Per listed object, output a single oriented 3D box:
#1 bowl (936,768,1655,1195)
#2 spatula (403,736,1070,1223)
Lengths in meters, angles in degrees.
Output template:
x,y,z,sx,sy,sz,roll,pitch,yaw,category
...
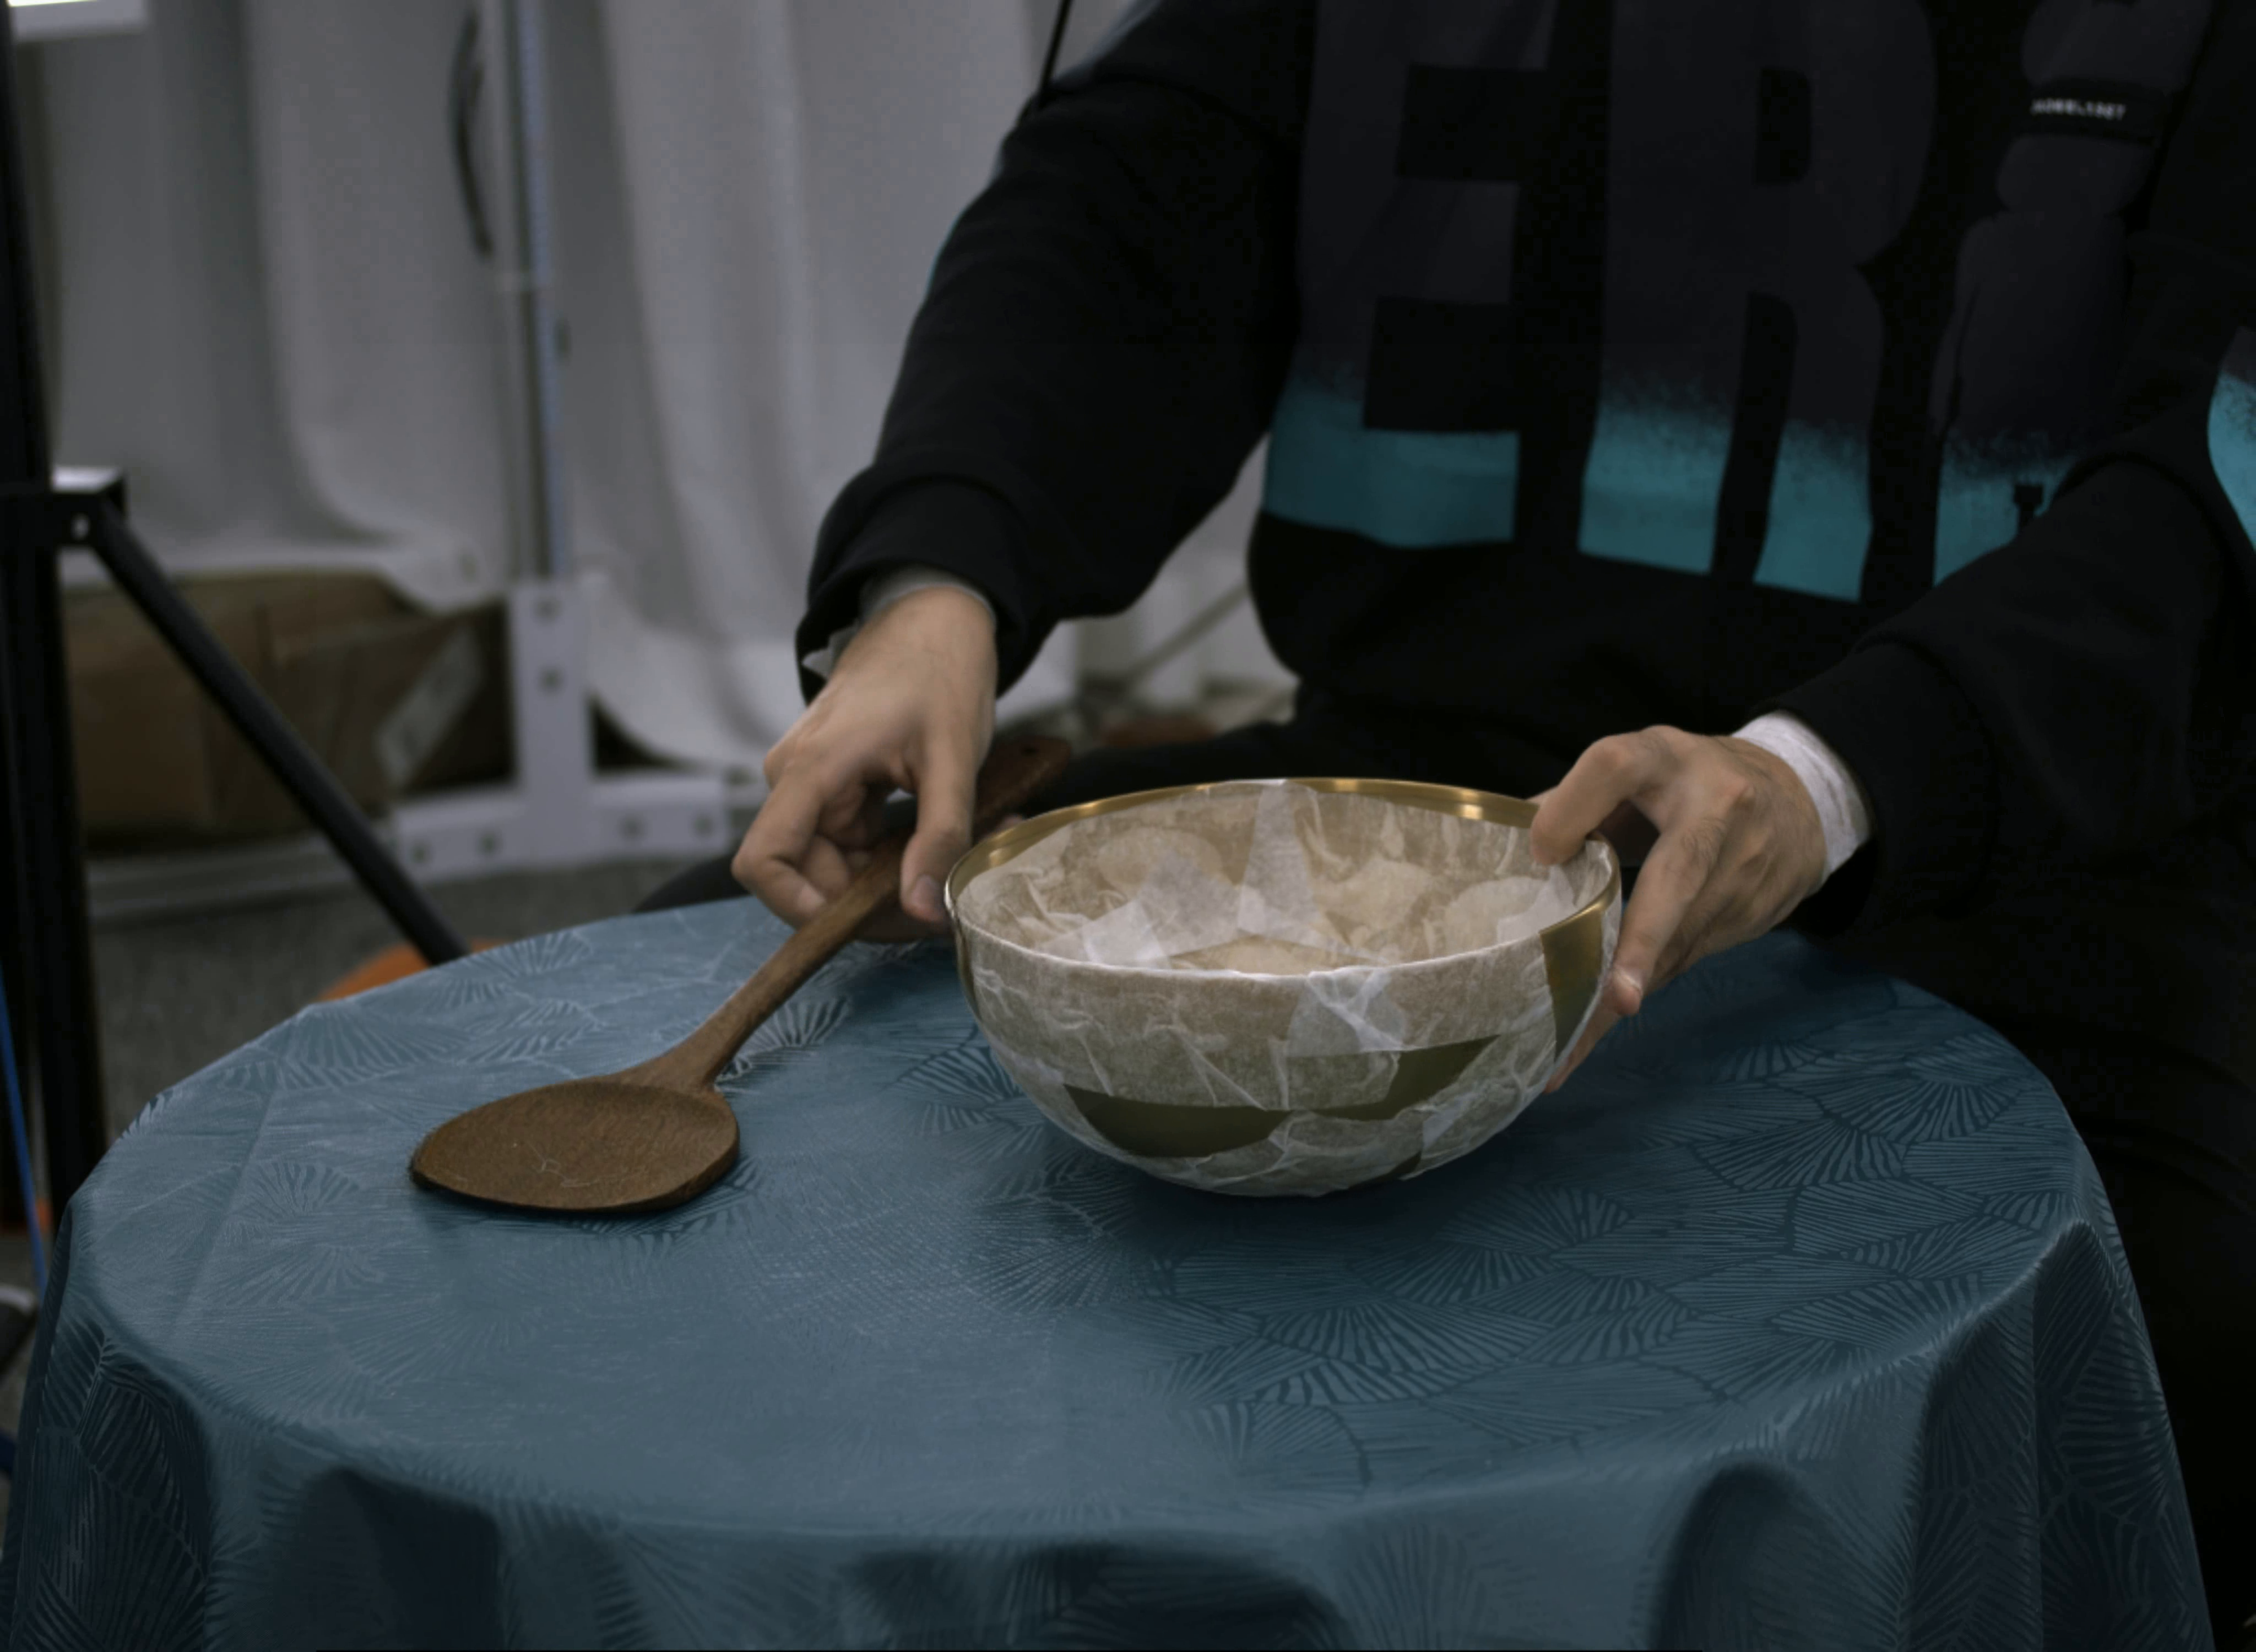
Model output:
x,y,z,sx,sy,sz,roll,pitch,yaw,category
0.050,0.054,1.568,0.213,0.094,0.216,-3,15,0,bowl
-0.105,0.042,1.724,0.097,0.016,0.381,6,25,24,spatula
